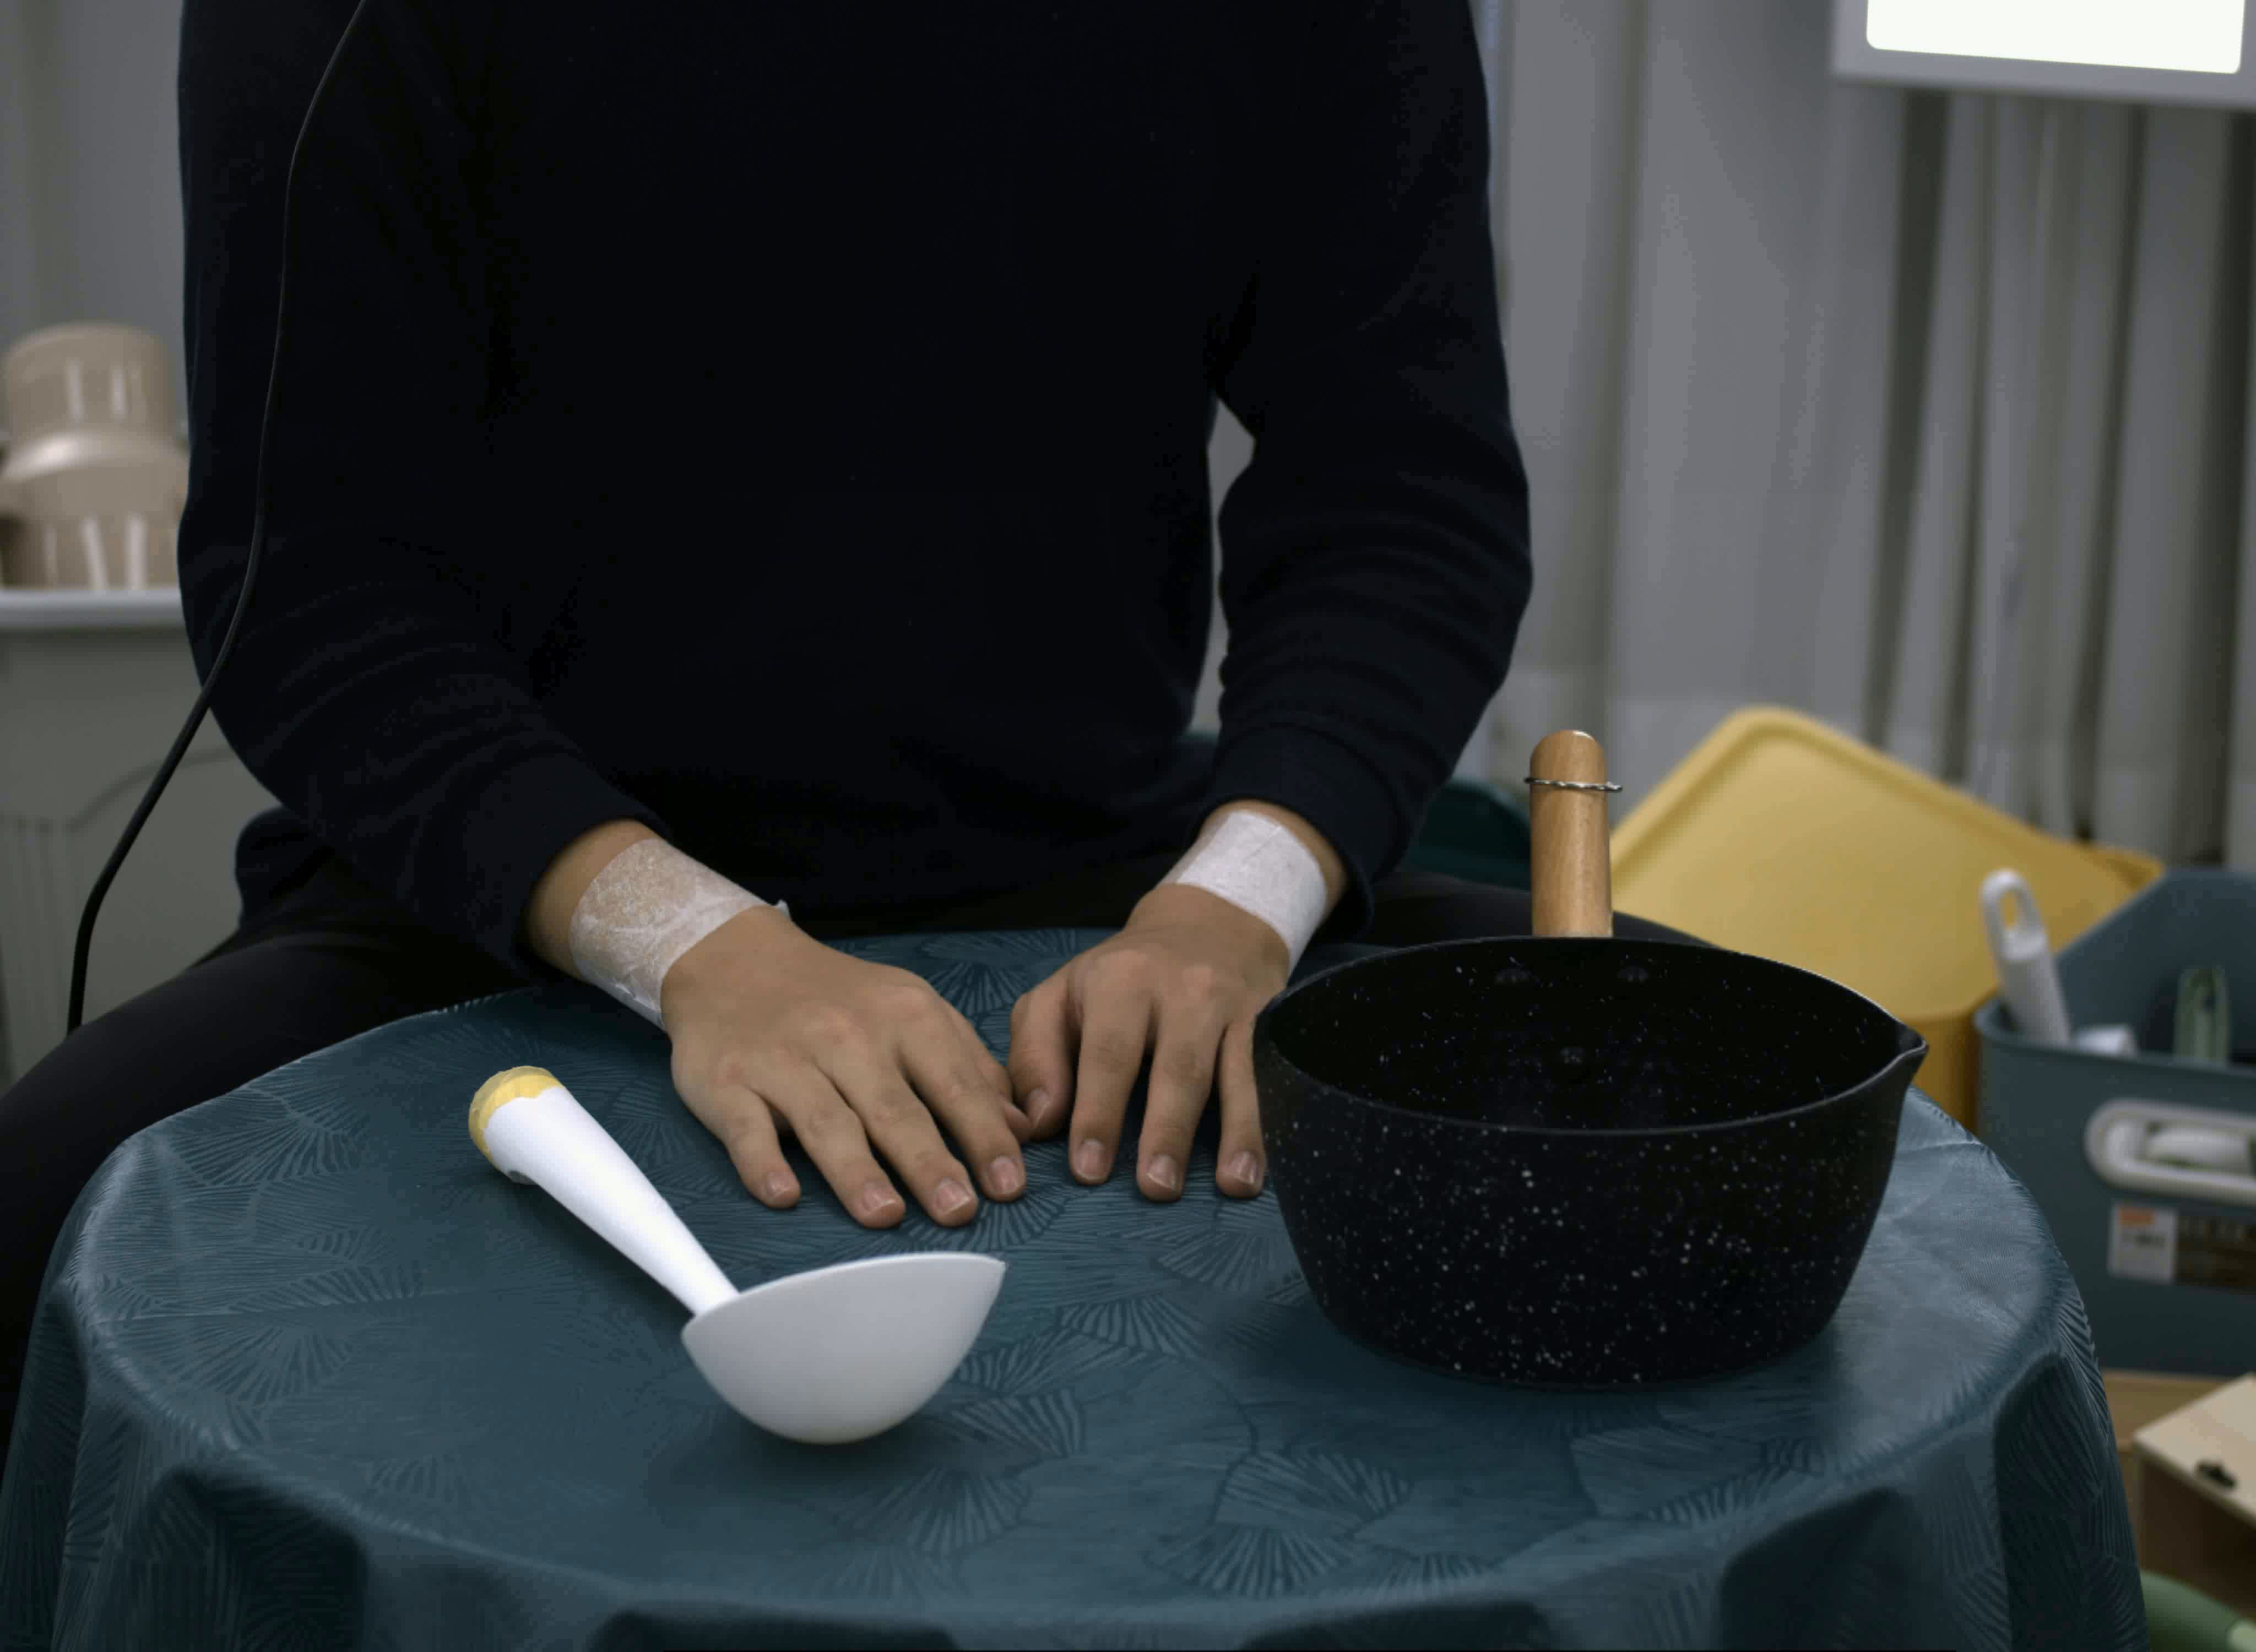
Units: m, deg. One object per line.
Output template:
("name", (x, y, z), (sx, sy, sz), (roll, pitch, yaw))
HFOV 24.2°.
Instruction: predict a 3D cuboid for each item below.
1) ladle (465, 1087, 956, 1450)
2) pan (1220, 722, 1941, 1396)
("ladle", (-0.134, 0.111, 1.505), (0.090, 0.070, 0.289), (-14, 19, -21))
("pan", (0.133, 0.065, 1.595), (0.206, 0.109, 0.341), (0, 17, 2))
